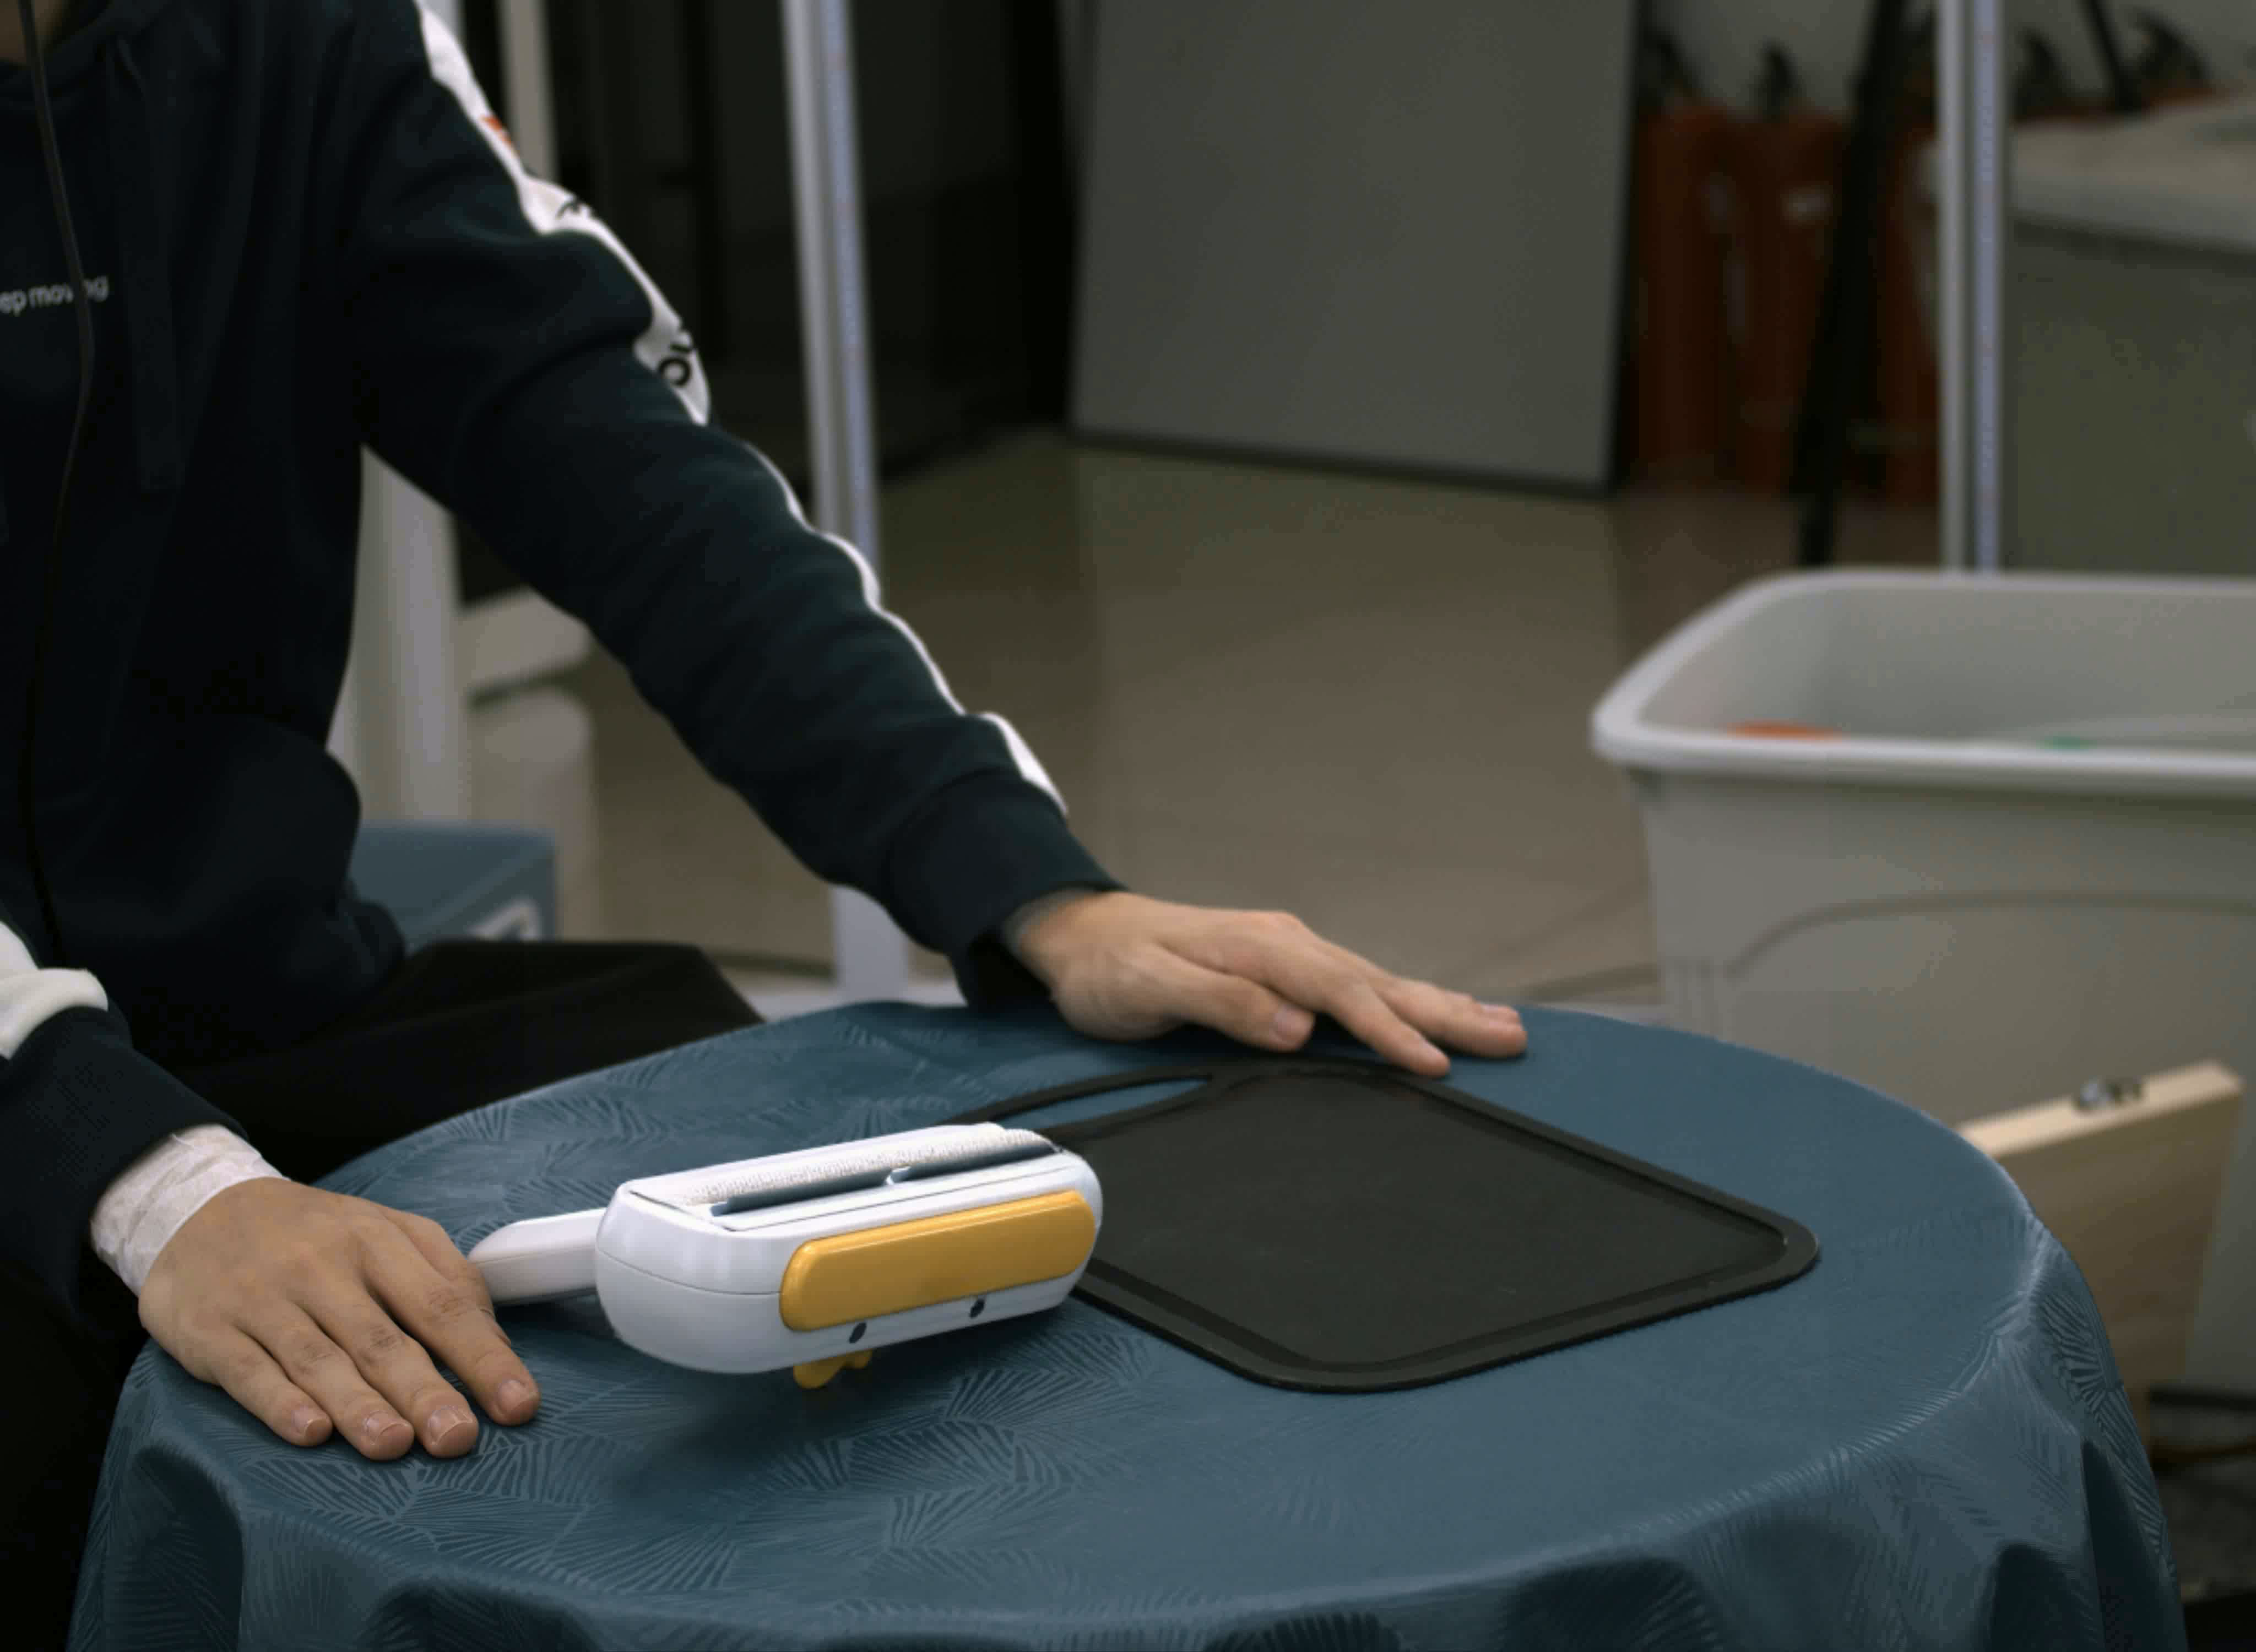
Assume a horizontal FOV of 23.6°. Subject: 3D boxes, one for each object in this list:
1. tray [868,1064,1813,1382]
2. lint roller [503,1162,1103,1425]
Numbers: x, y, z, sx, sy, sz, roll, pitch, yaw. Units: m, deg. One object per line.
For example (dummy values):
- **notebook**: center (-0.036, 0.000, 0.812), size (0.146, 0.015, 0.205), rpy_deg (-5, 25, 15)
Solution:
- **tray**: center (0.058, 0.121, 1.741), size (0.206, 0.010, 0.329), rpy_deg (-12, 16, -29)
- **lint roller**: center (-0.125, 0.146, 1.644), size (0.194, 0.075, 0.189), rpy_deg (-11, -2, 44)
